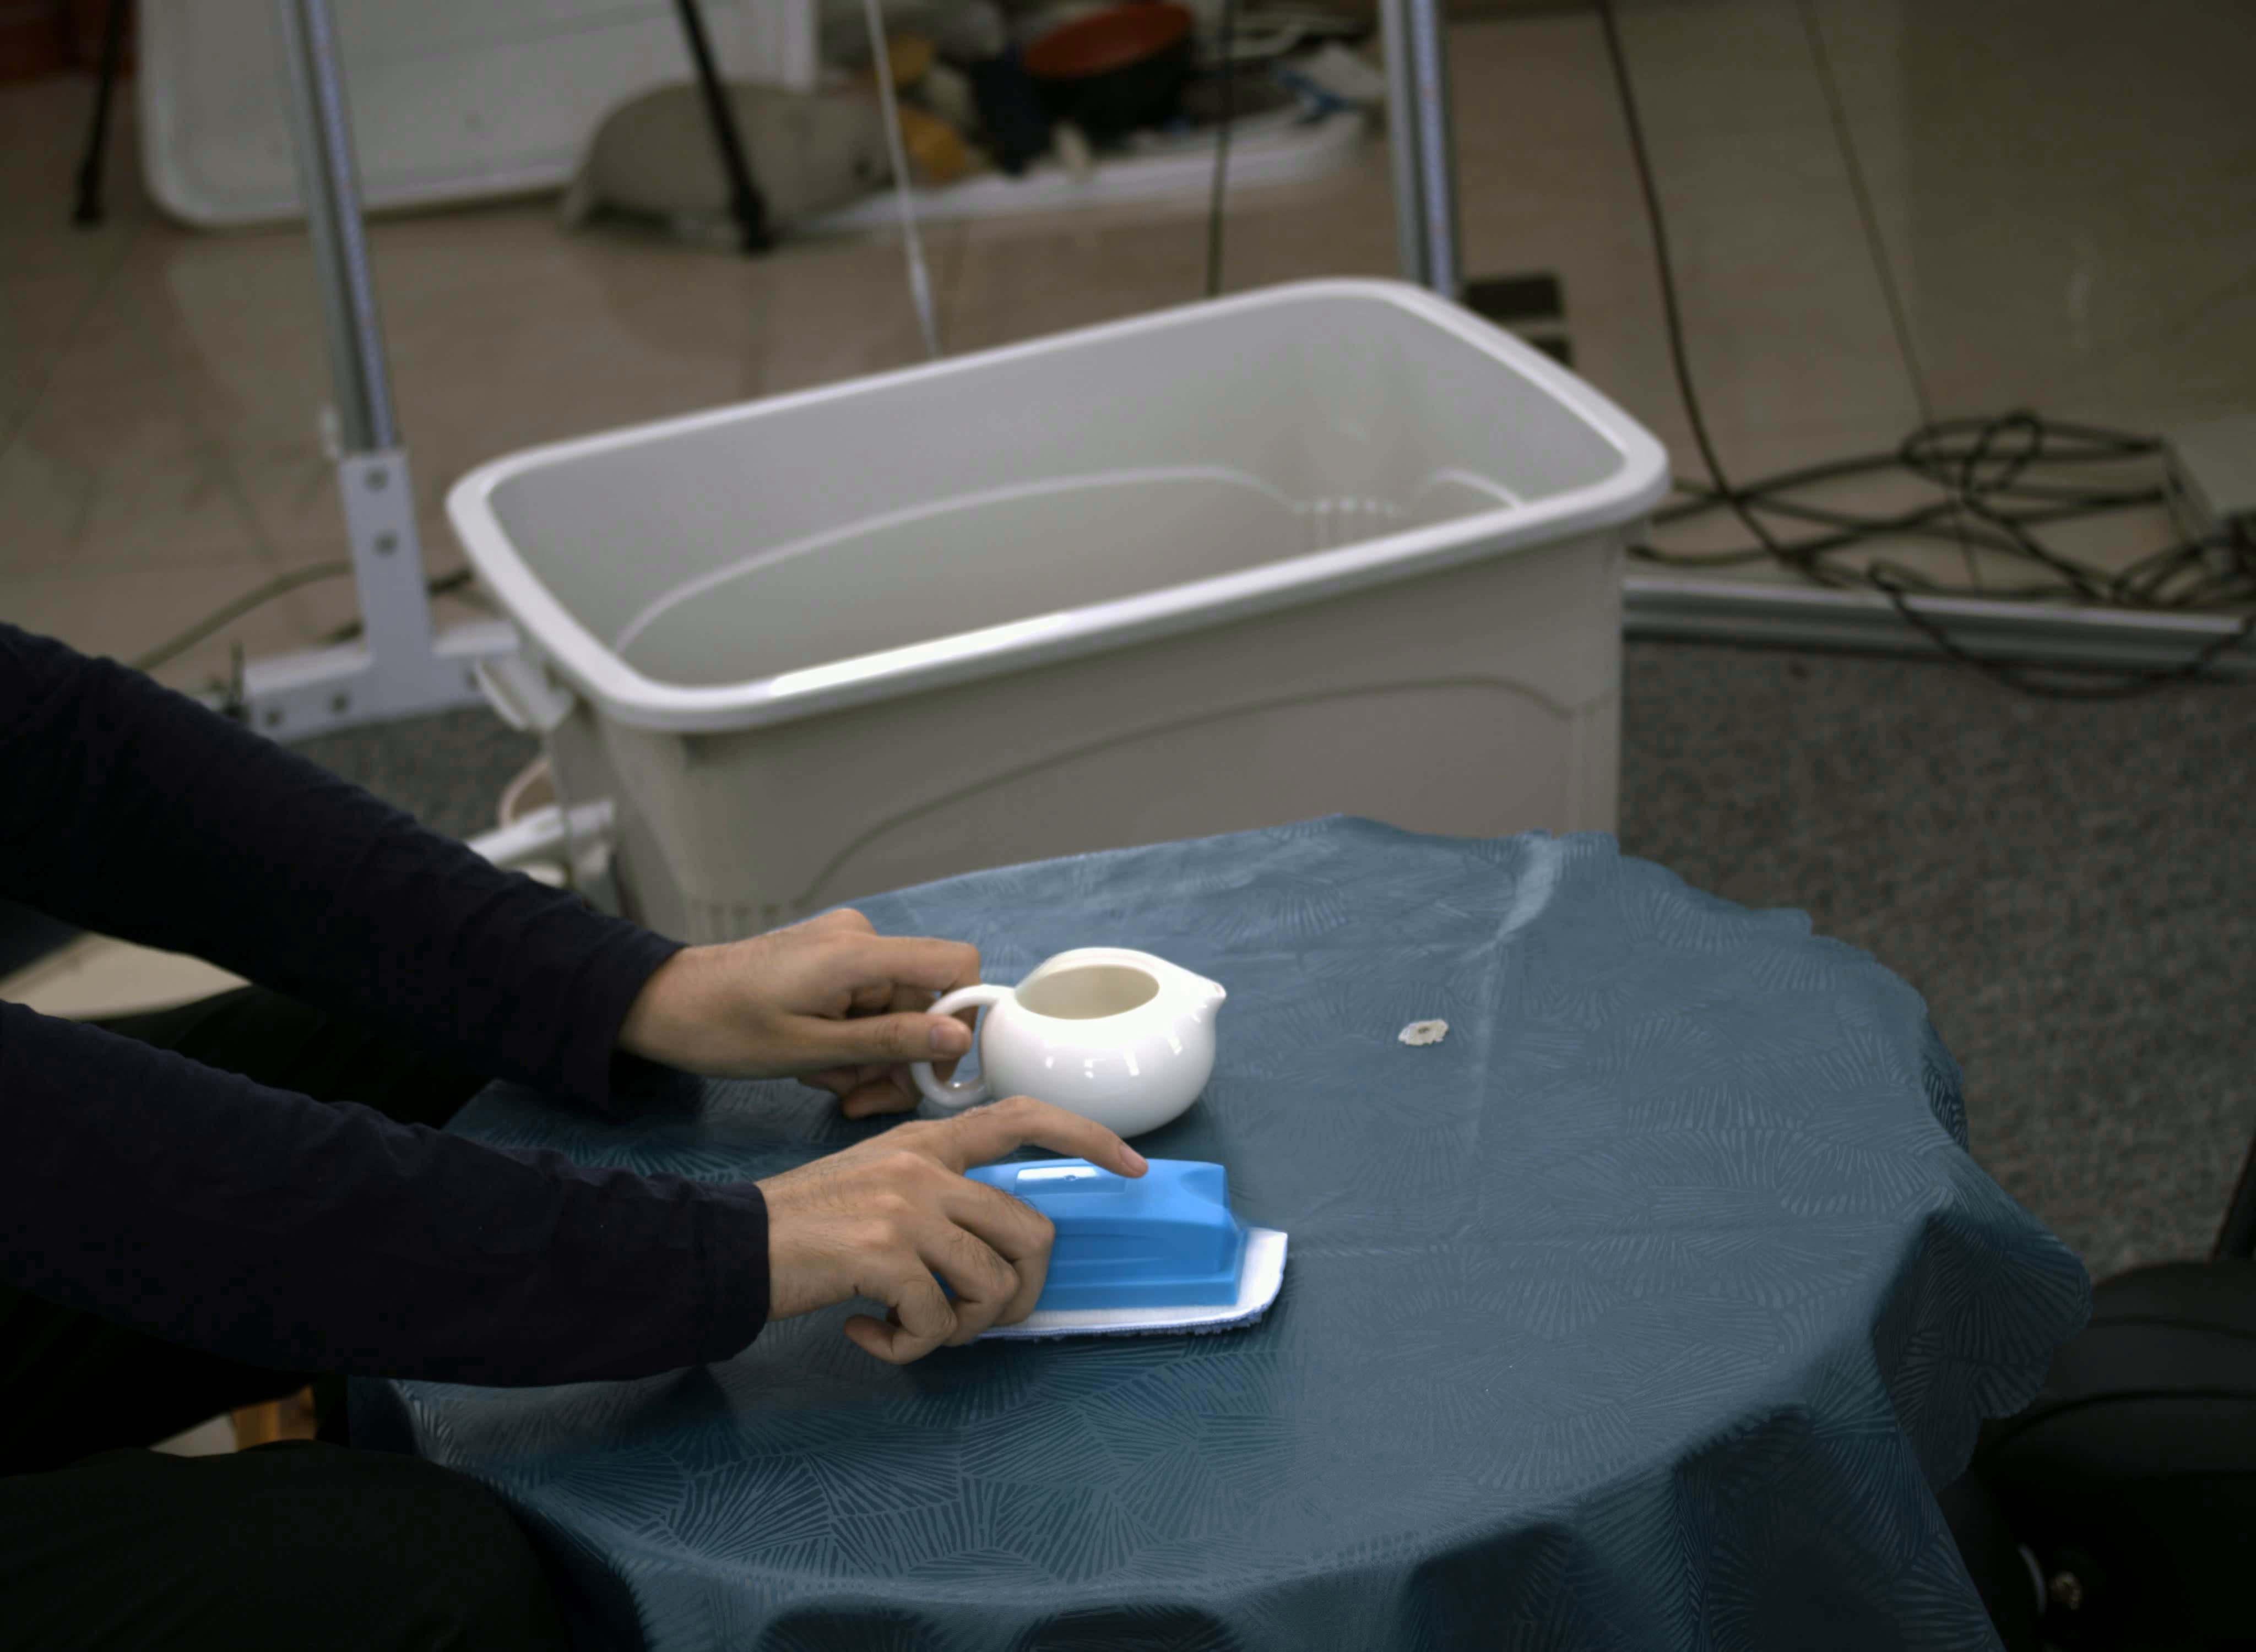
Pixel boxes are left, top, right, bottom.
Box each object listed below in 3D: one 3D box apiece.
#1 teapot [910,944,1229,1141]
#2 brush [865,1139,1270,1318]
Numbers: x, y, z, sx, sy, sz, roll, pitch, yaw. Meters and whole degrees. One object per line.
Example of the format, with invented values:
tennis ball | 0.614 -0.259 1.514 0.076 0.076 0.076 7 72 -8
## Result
teapot | -0.022 0.085 2.201 0.127 0.057 0.092 -4 29 4
brush | -0.022 0.145 2.067 0.143 0.057 0.083 1 23 10
